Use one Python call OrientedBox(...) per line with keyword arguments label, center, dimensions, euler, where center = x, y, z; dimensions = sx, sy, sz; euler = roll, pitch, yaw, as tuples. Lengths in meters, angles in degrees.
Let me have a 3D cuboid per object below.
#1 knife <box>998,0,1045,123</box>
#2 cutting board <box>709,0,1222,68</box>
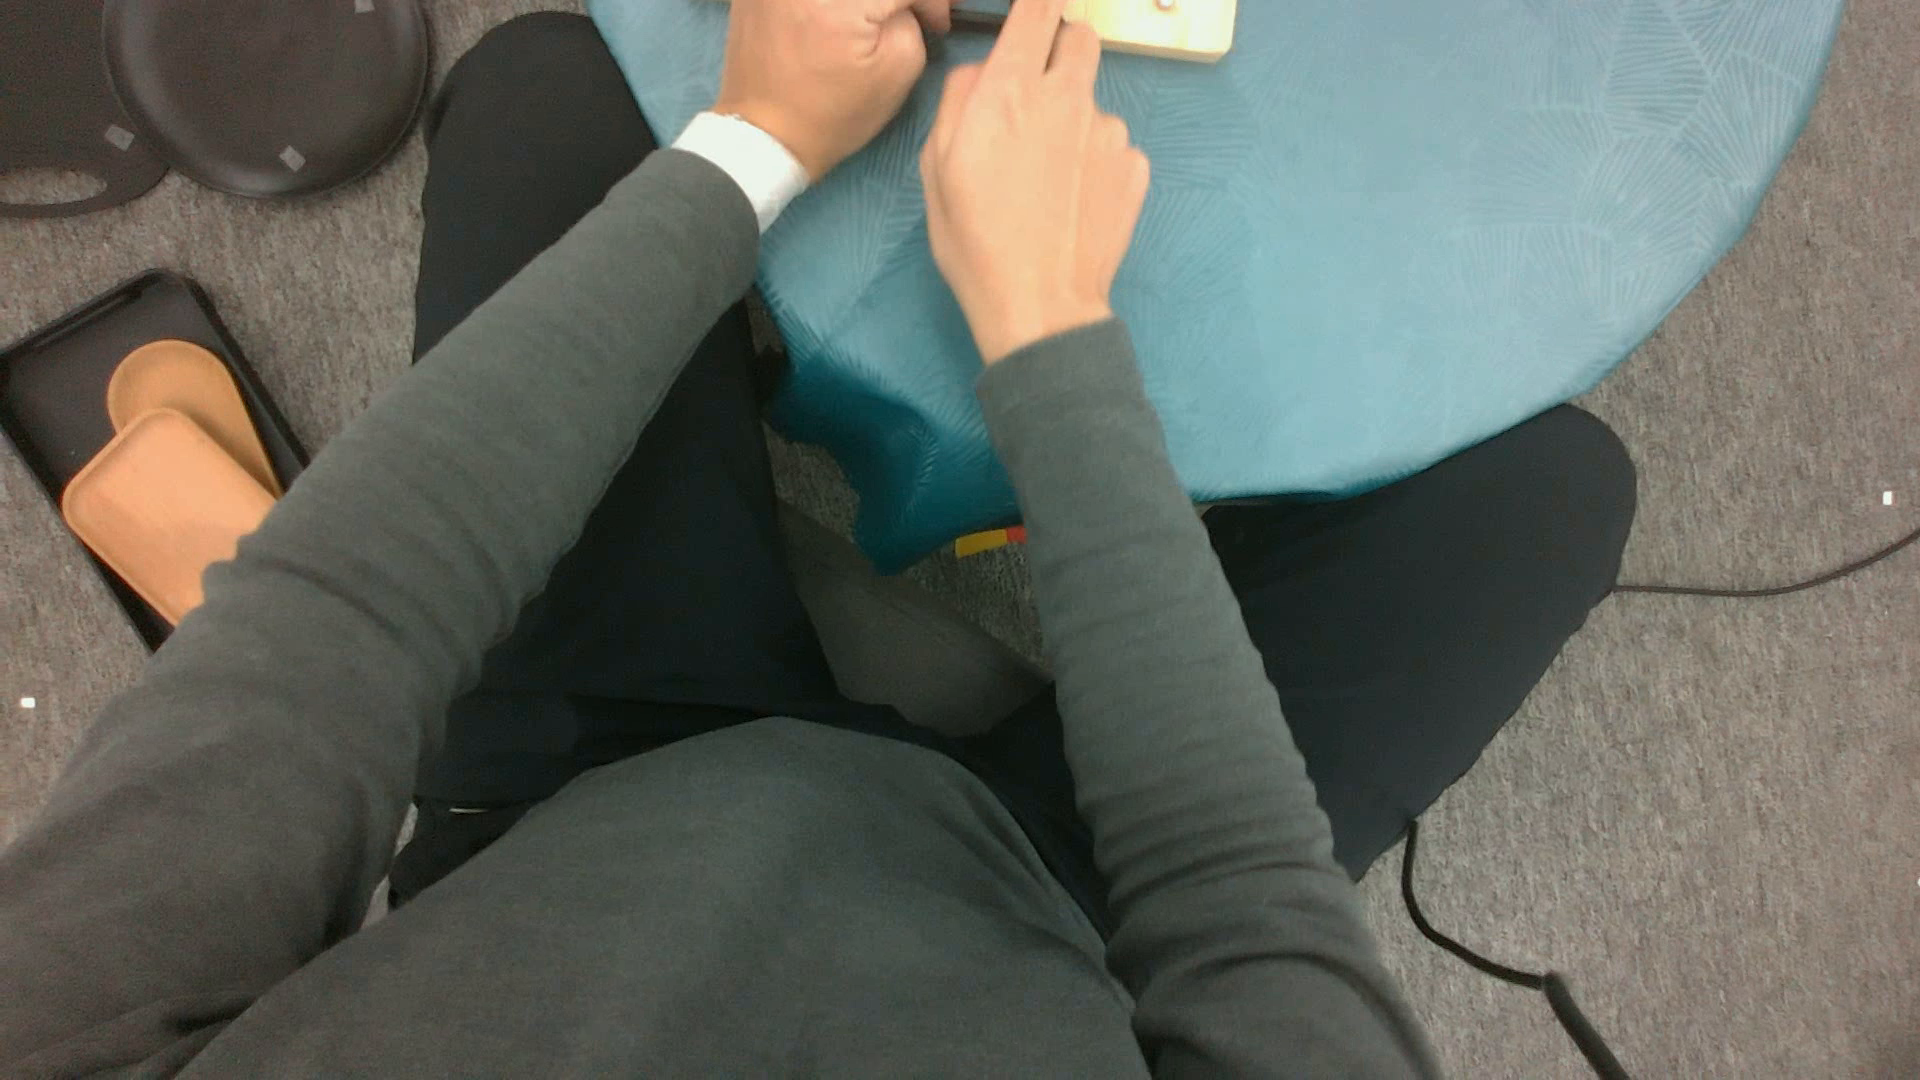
OrientedBox(label="knife", center=(0.029, -0.288, 0.558), dimensions=(0.016, 0.024, 0.238), euler=(4, 86, -13))
OrientedBox(label="cutting board", center=(0.010, -0.394, 0.591), dimensions=(0.251, 0.023, 0.348), euler=(4, 95, -6))
